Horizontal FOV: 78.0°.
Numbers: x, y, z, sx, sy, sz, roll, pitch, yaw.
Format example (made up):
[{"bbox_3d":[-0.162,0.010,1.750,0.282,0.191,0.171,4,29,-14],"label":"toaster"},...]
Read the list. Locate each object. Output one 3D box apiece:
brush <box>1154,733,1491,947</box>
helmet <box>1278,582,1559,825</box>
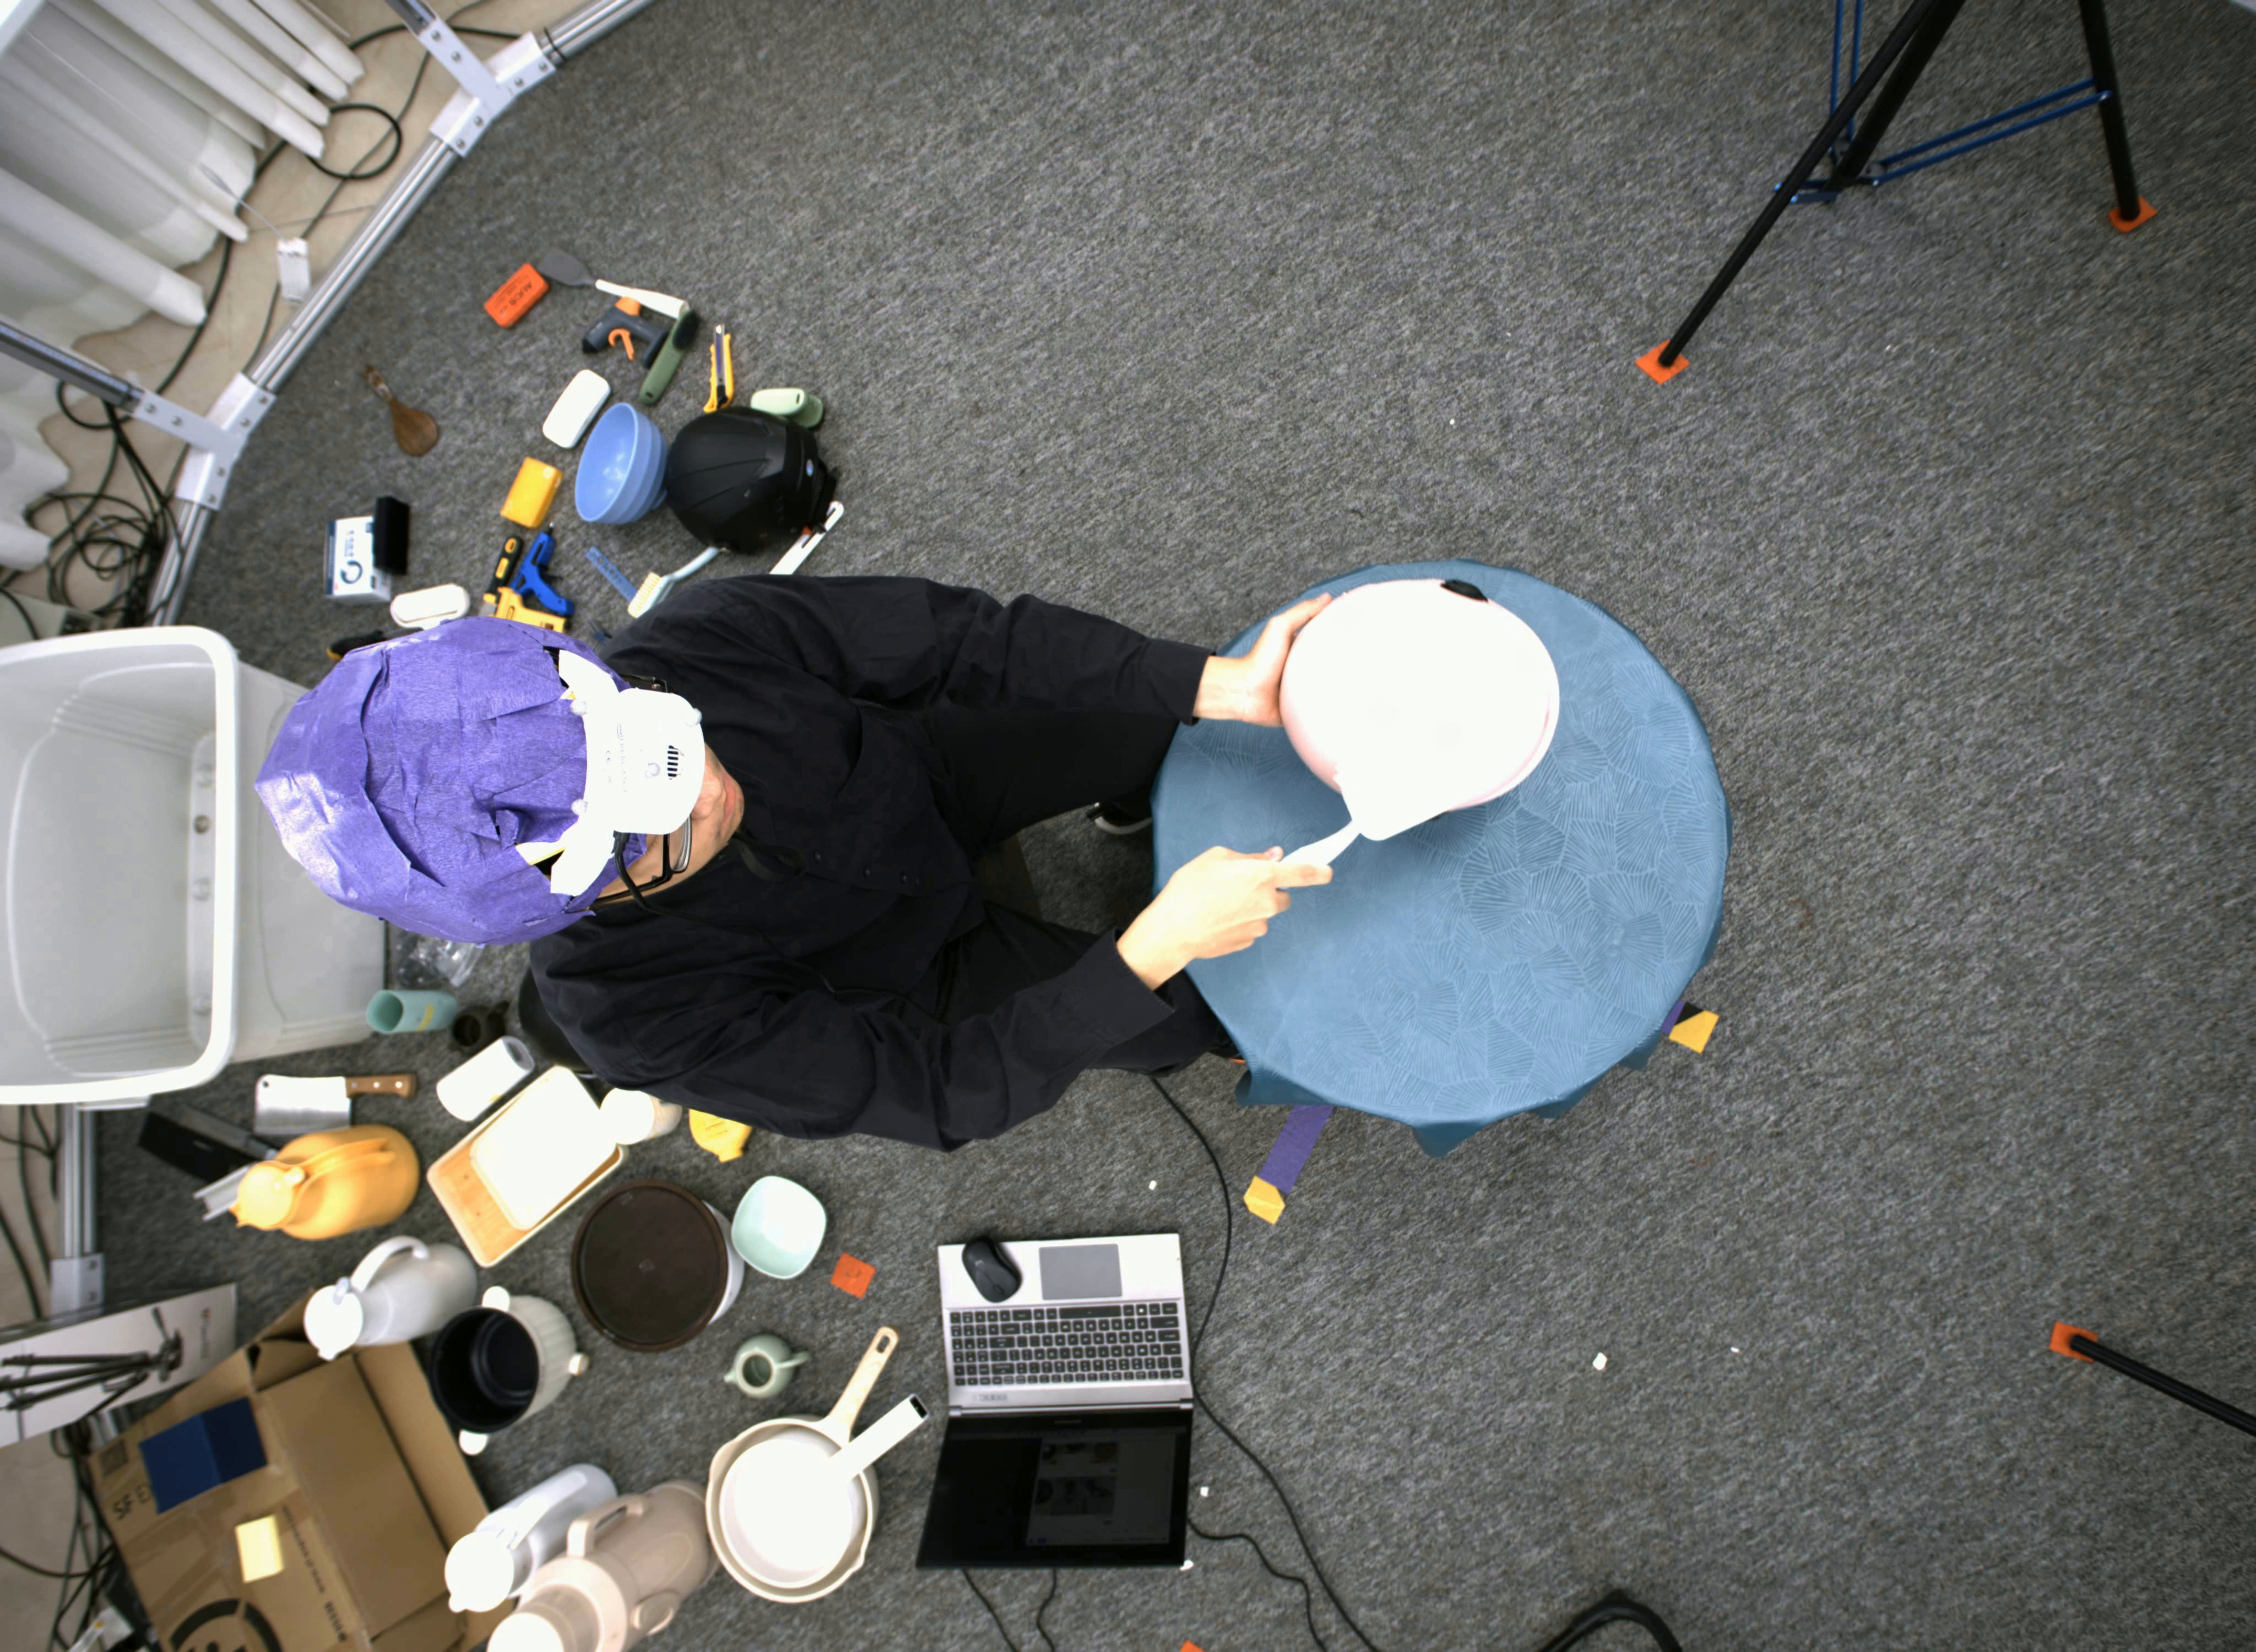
[{"bbox_3d":[0.160,0.005,1.196,0.326,0.085,0.082,-28,75,2],"label":"brush"},{"bbox_3d":[0.265,-0.112,1.267,0.266,0.157,0.236,10,103,11],"label":"helmet"}]
